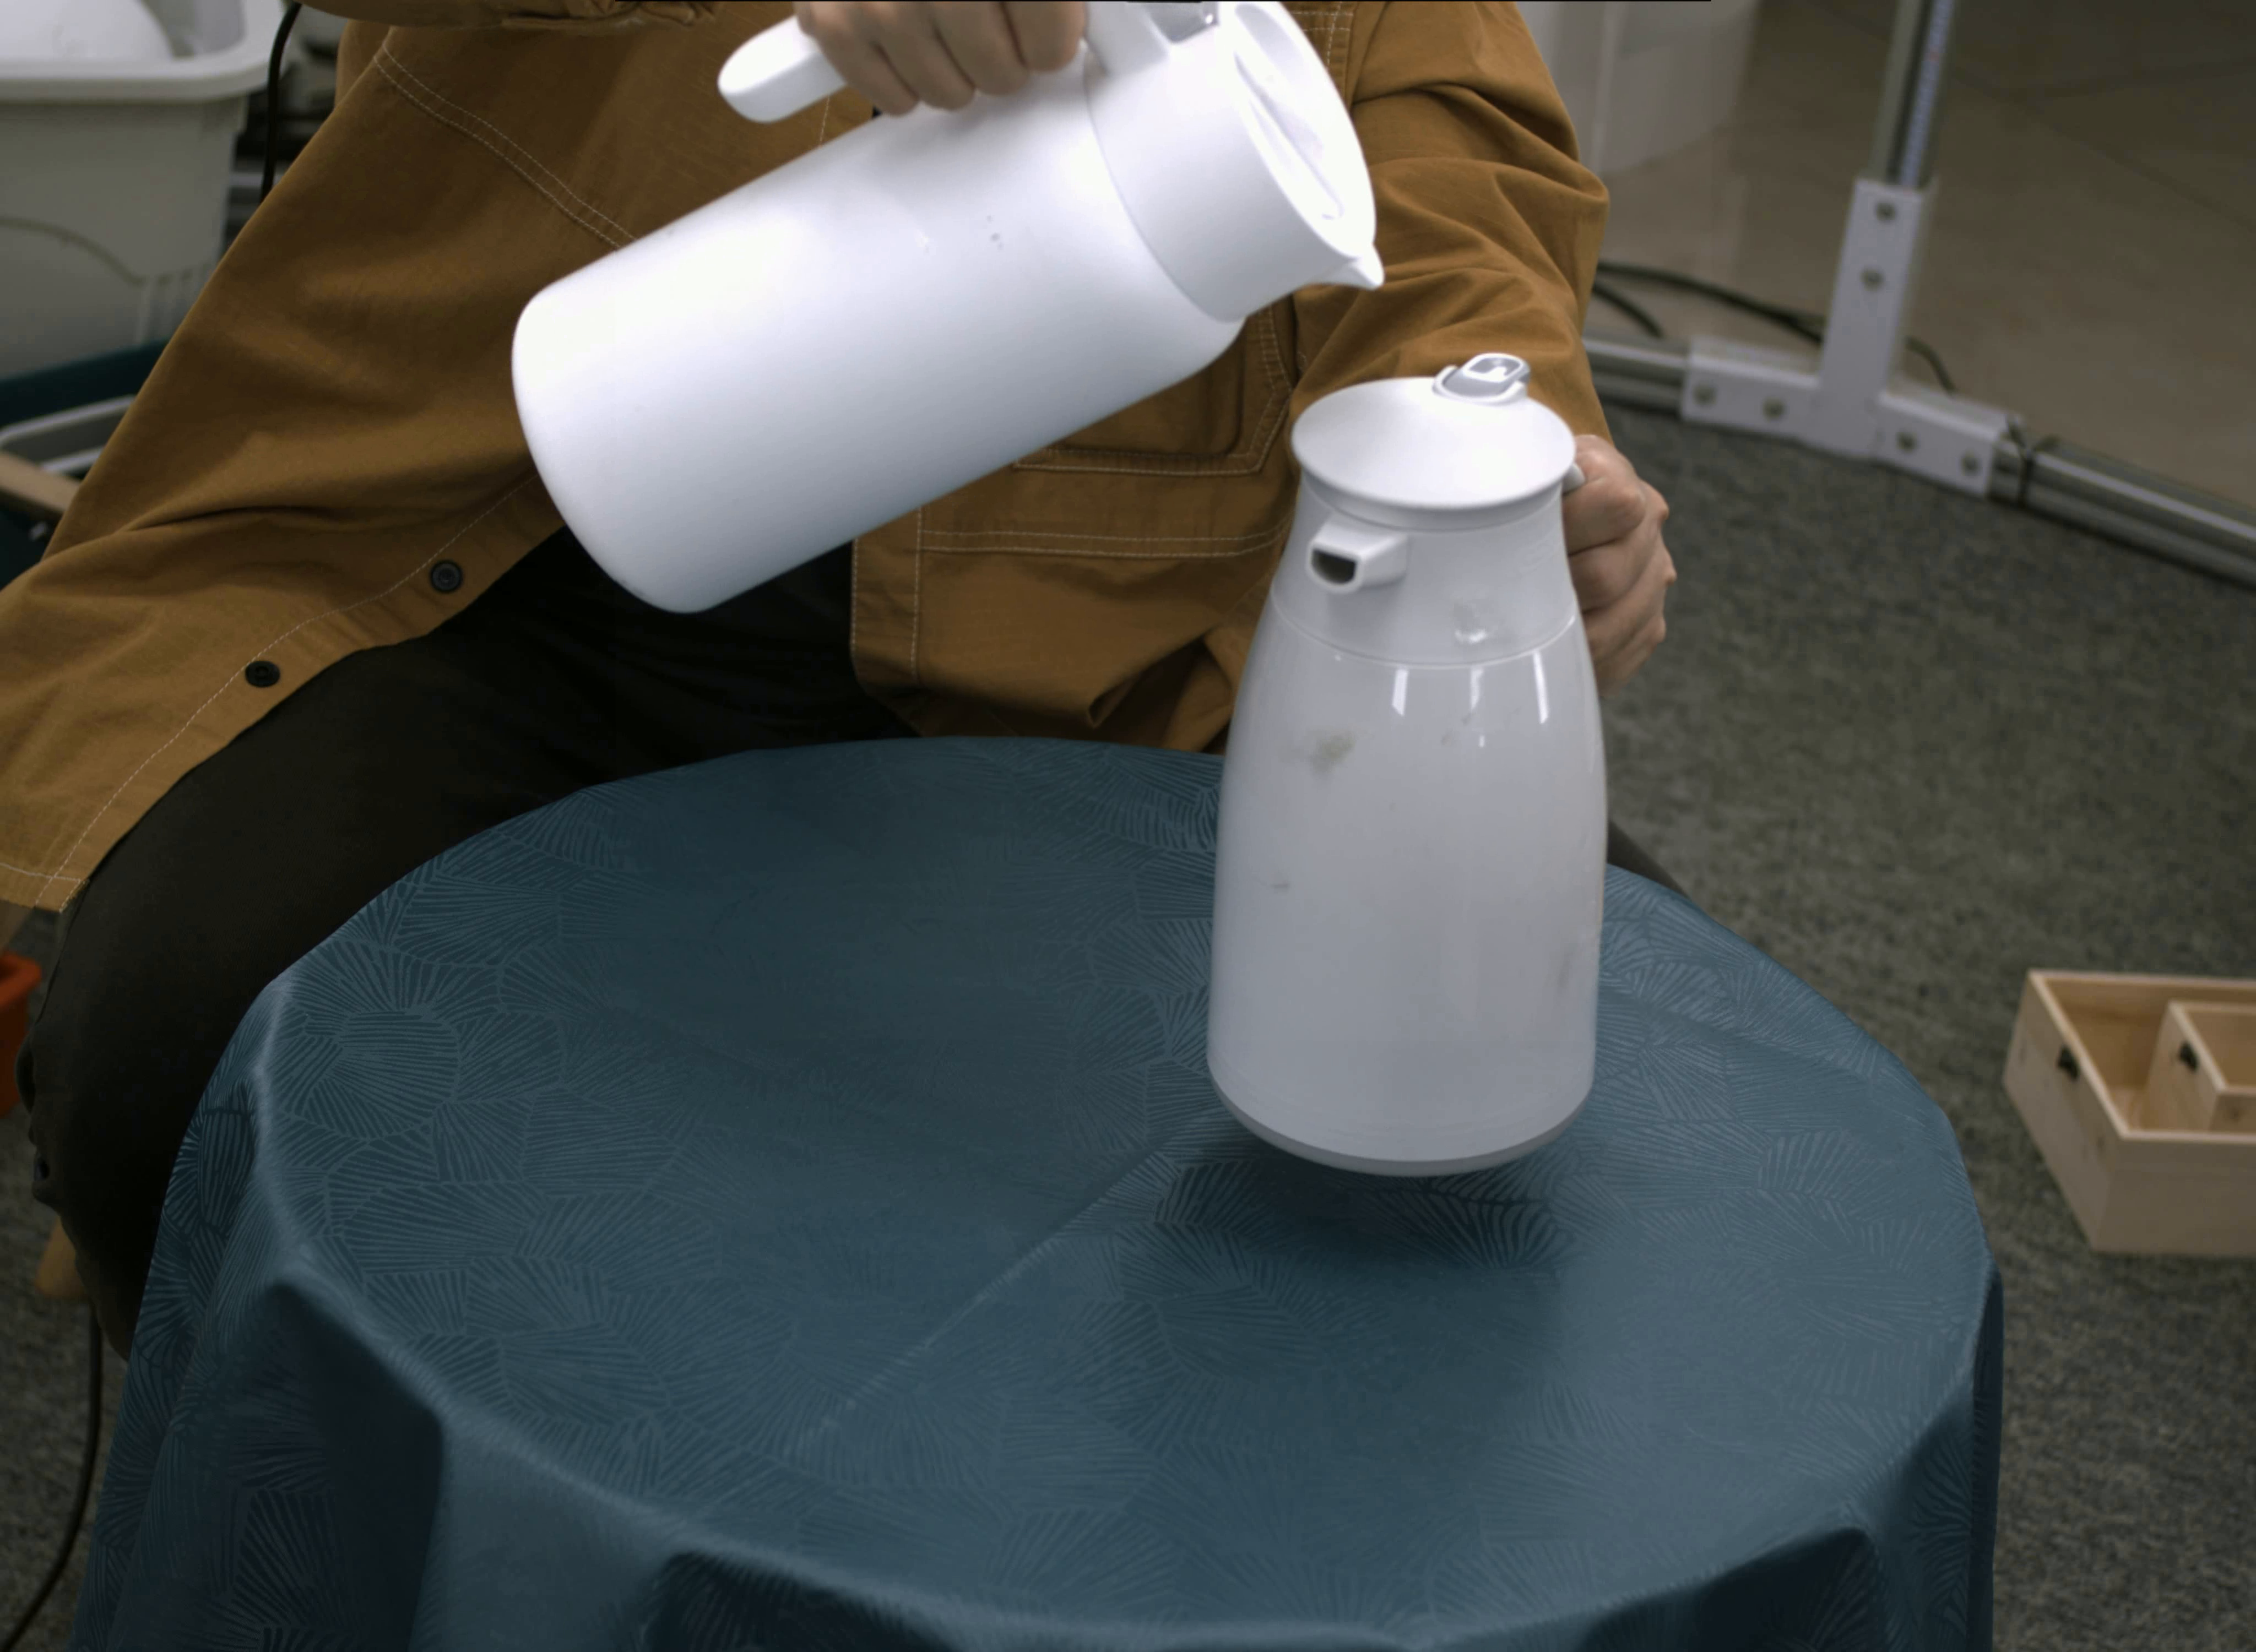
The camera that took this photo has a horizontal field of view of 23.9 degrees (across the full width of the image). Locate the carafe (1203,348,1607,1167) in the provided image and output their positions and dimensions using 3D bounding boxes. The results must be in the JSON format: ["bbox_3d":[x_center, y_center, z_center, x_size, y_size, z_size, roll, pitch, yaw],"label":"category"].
[{"bbox_3d":[0.104,-0.034,1.768,0.133,0.247,0.167,19,34,27],"label":"carafe"}]

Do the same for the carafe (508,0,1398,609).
[{"bbox_3d":[-0.070,-0.182,1.682,0.269,0.171,0.125,-23,36,24],"label":"carafe"}]
